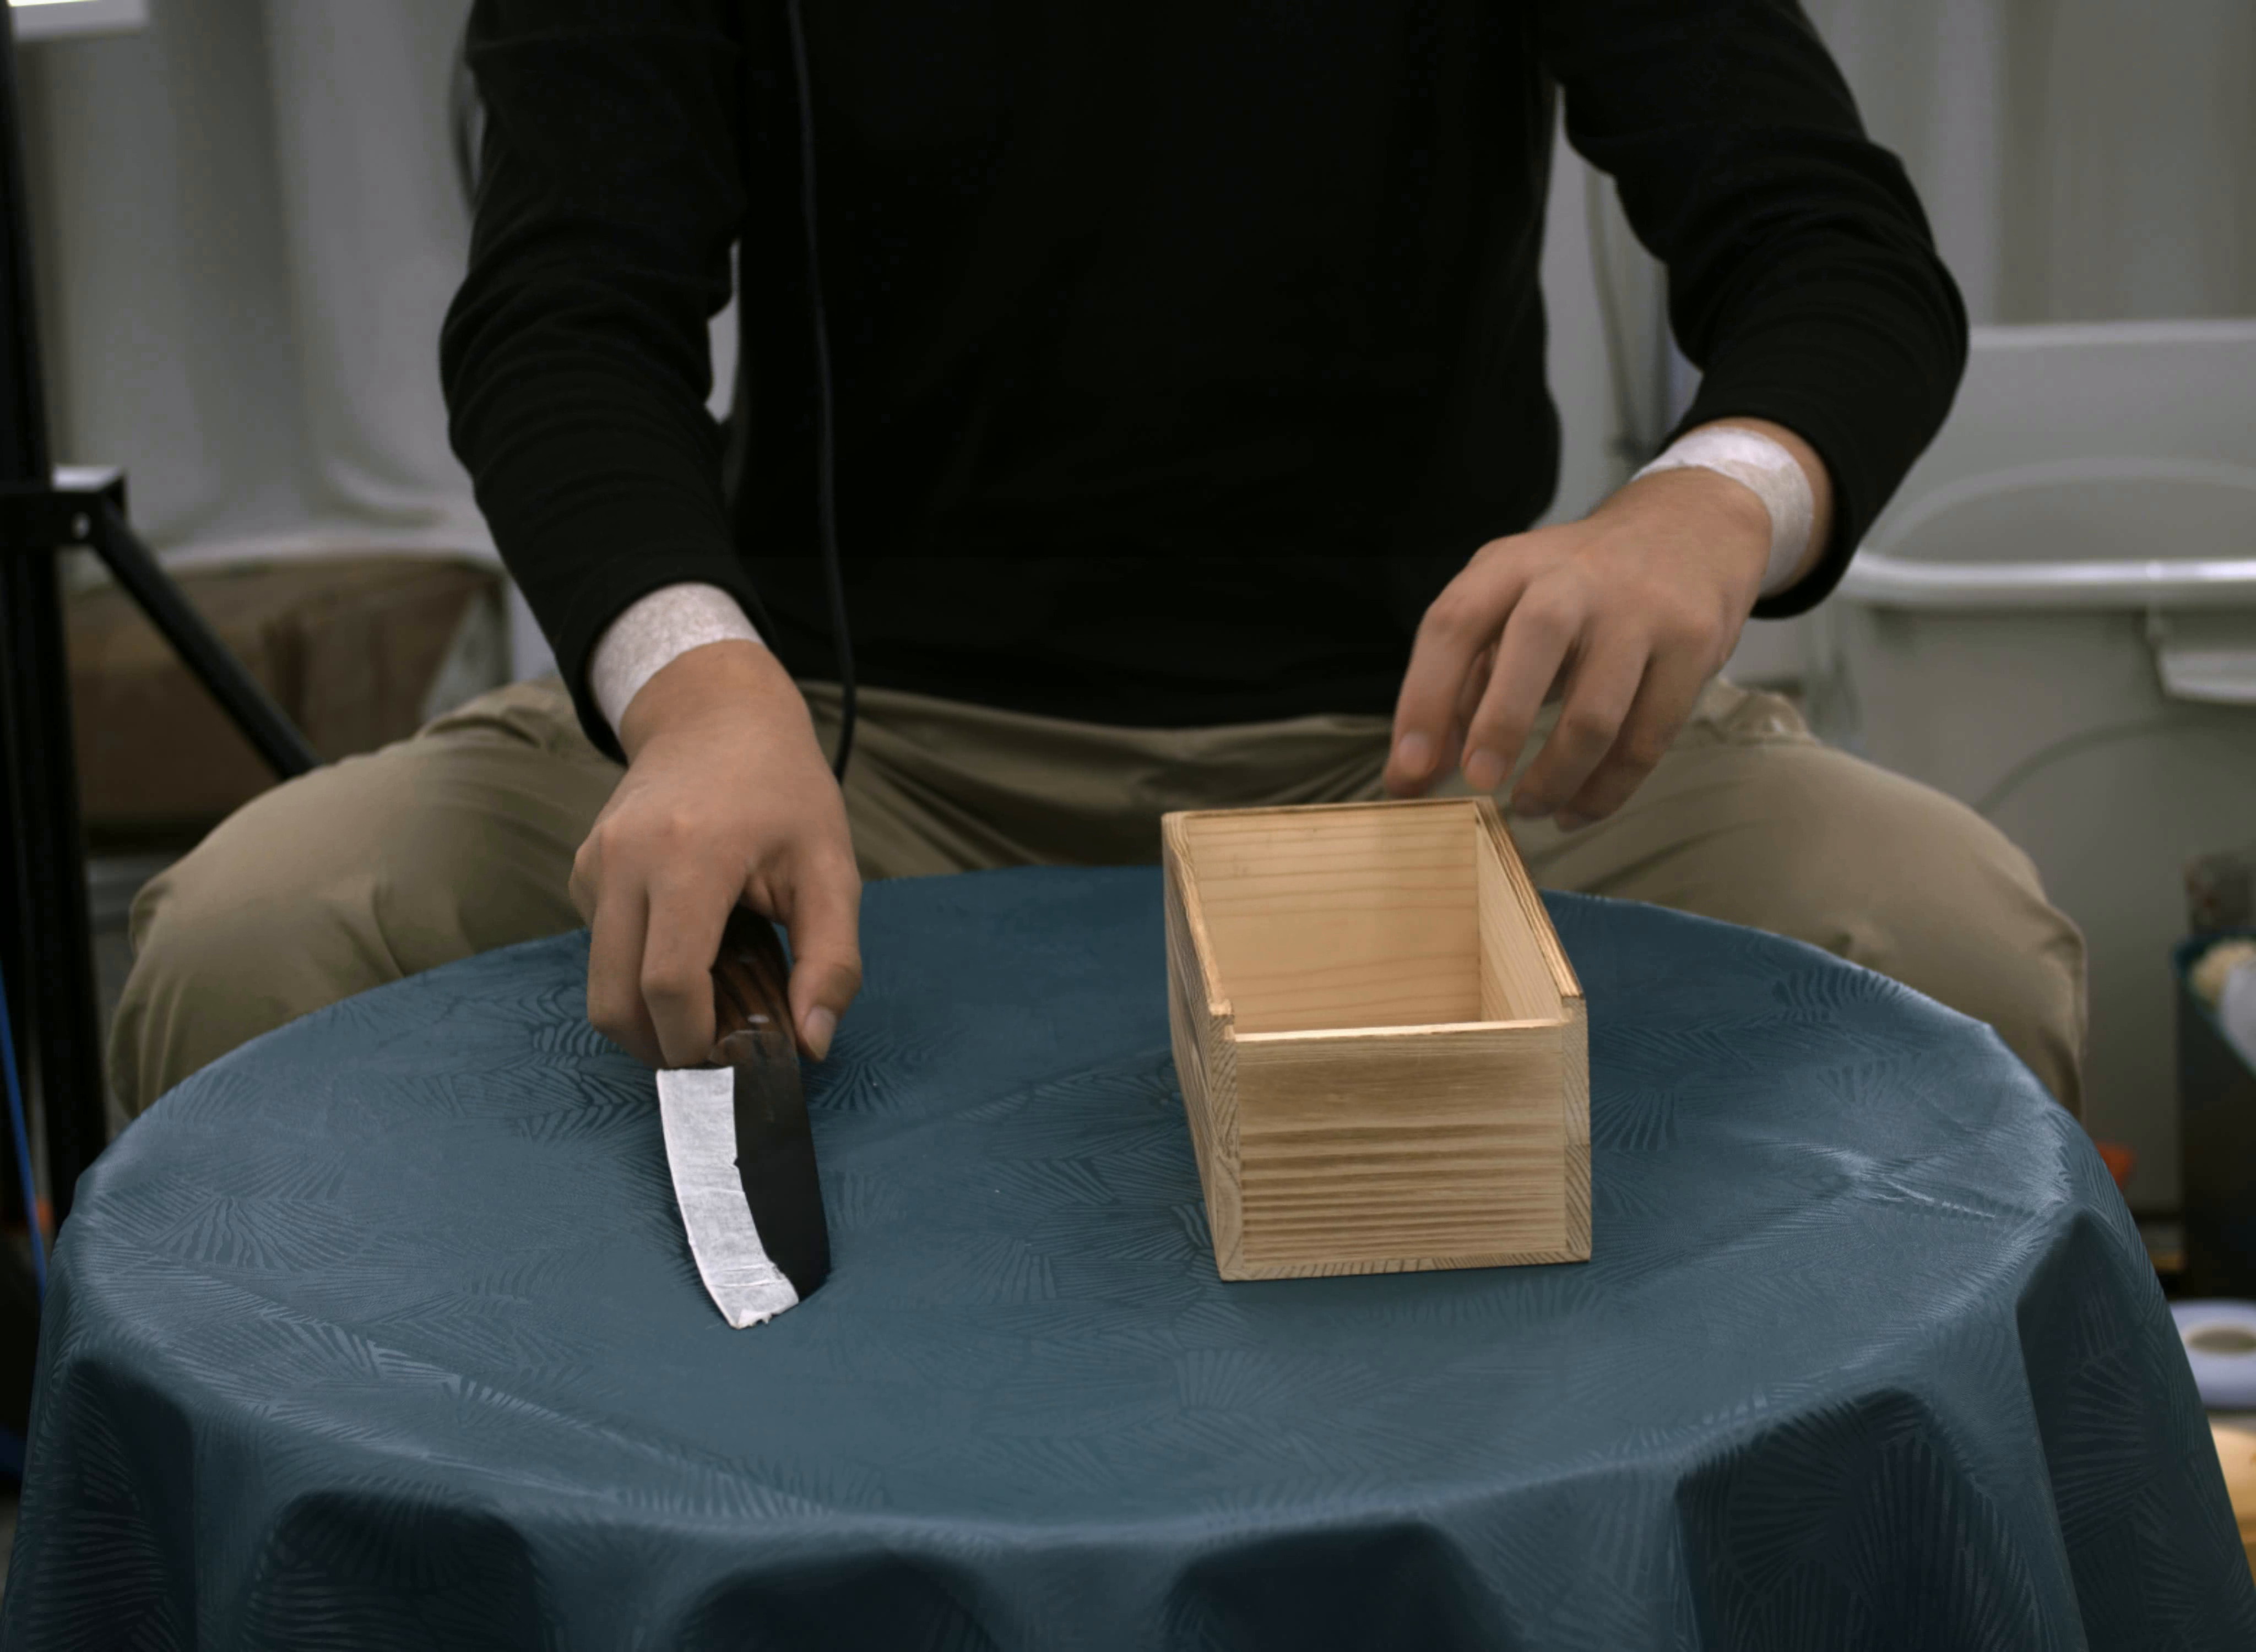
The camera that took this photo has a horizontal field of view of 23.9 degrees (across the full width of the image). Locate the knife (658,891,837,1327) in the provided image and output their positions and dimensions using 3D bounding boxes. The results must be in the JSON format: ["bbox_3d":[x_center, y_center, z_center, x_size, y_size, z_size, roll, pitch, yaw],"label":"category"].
[{"bbox_3d":[-0.116,0.083,1.600,0.050,0.020,0.292,-1,22,-5],"label":"knife"}]

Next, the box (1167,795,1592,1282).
[{"bbox_3d":[0.071,0.059,1.572,0.107,0.080,0.213,-3,16,-2],"label":"box"}]
